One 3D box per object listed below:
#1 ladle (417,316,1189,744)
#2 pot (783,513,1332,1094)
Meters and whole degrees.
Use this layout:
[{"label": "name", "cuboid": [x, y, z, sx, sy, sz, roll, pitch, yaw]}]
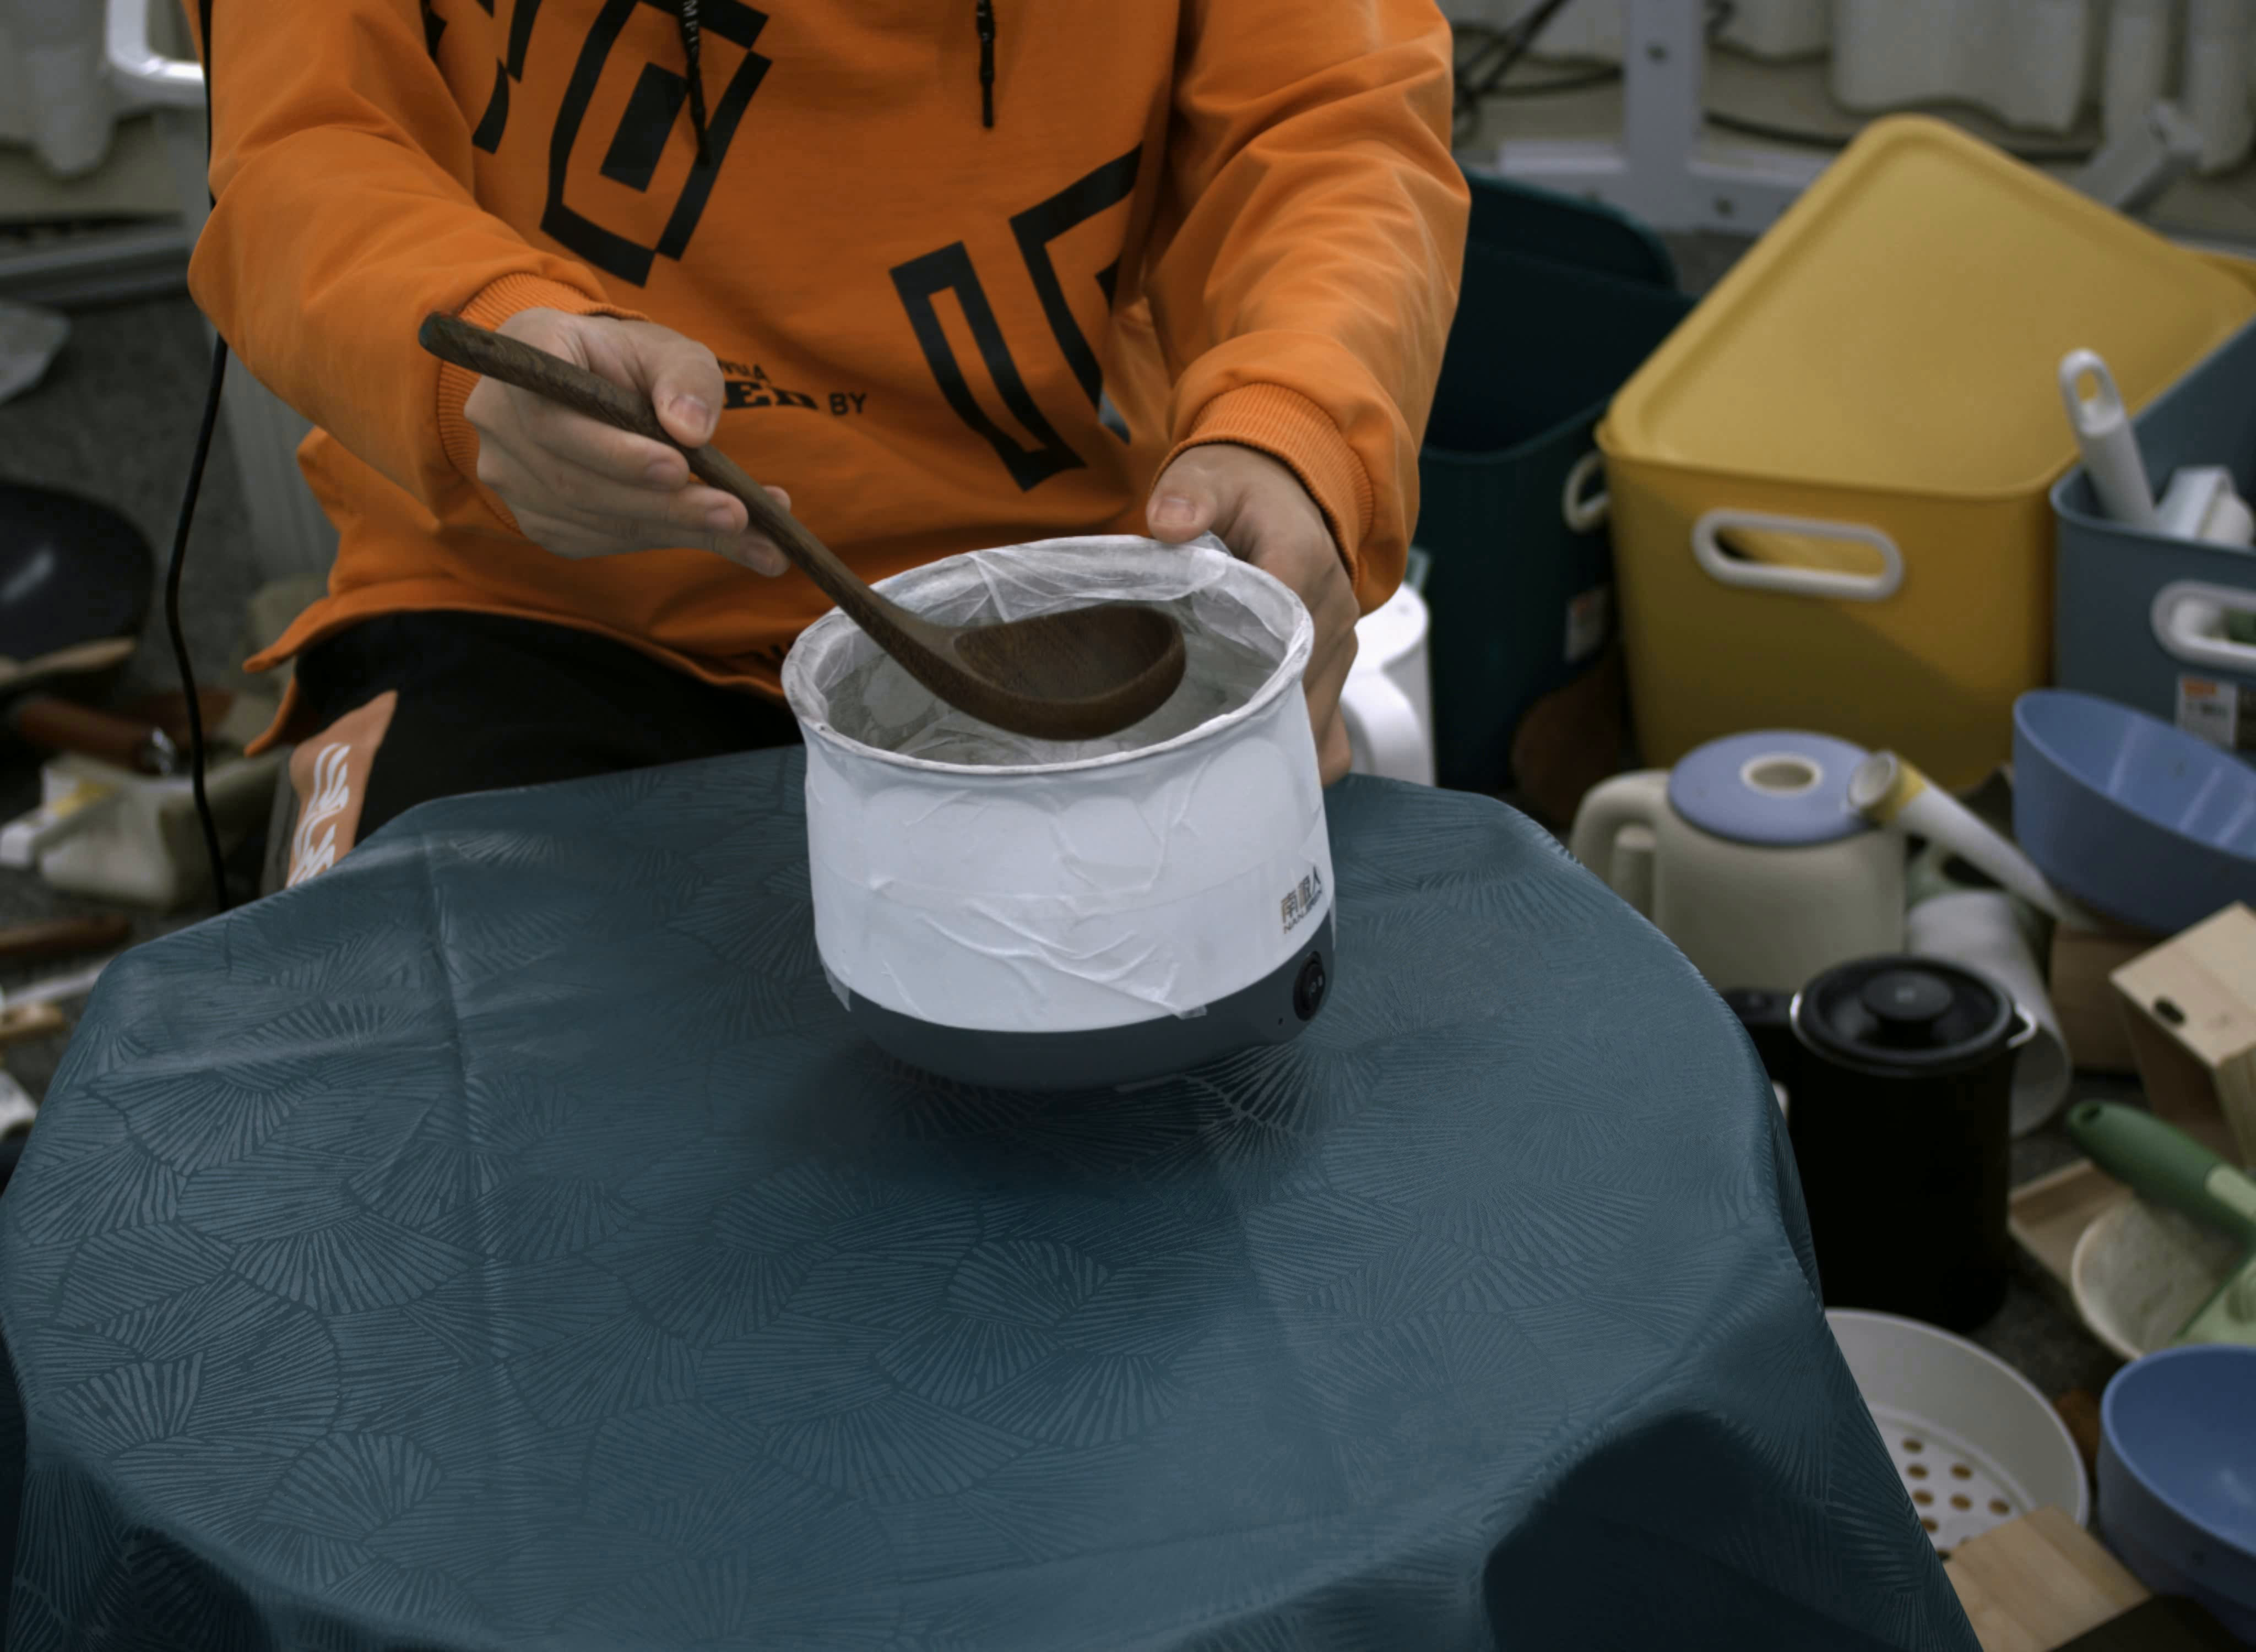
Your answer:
[{"label": "ladle", "cuboid": [-0.100, -0.110, 1.832, 0.273, 0.071, 0.077, 35, 10, -21]}, {"label": "pot", "cuboid": [-0.010, -0.015, 1.909, 0.177, 0.135, 0.238, 8, 29, 24]}]
